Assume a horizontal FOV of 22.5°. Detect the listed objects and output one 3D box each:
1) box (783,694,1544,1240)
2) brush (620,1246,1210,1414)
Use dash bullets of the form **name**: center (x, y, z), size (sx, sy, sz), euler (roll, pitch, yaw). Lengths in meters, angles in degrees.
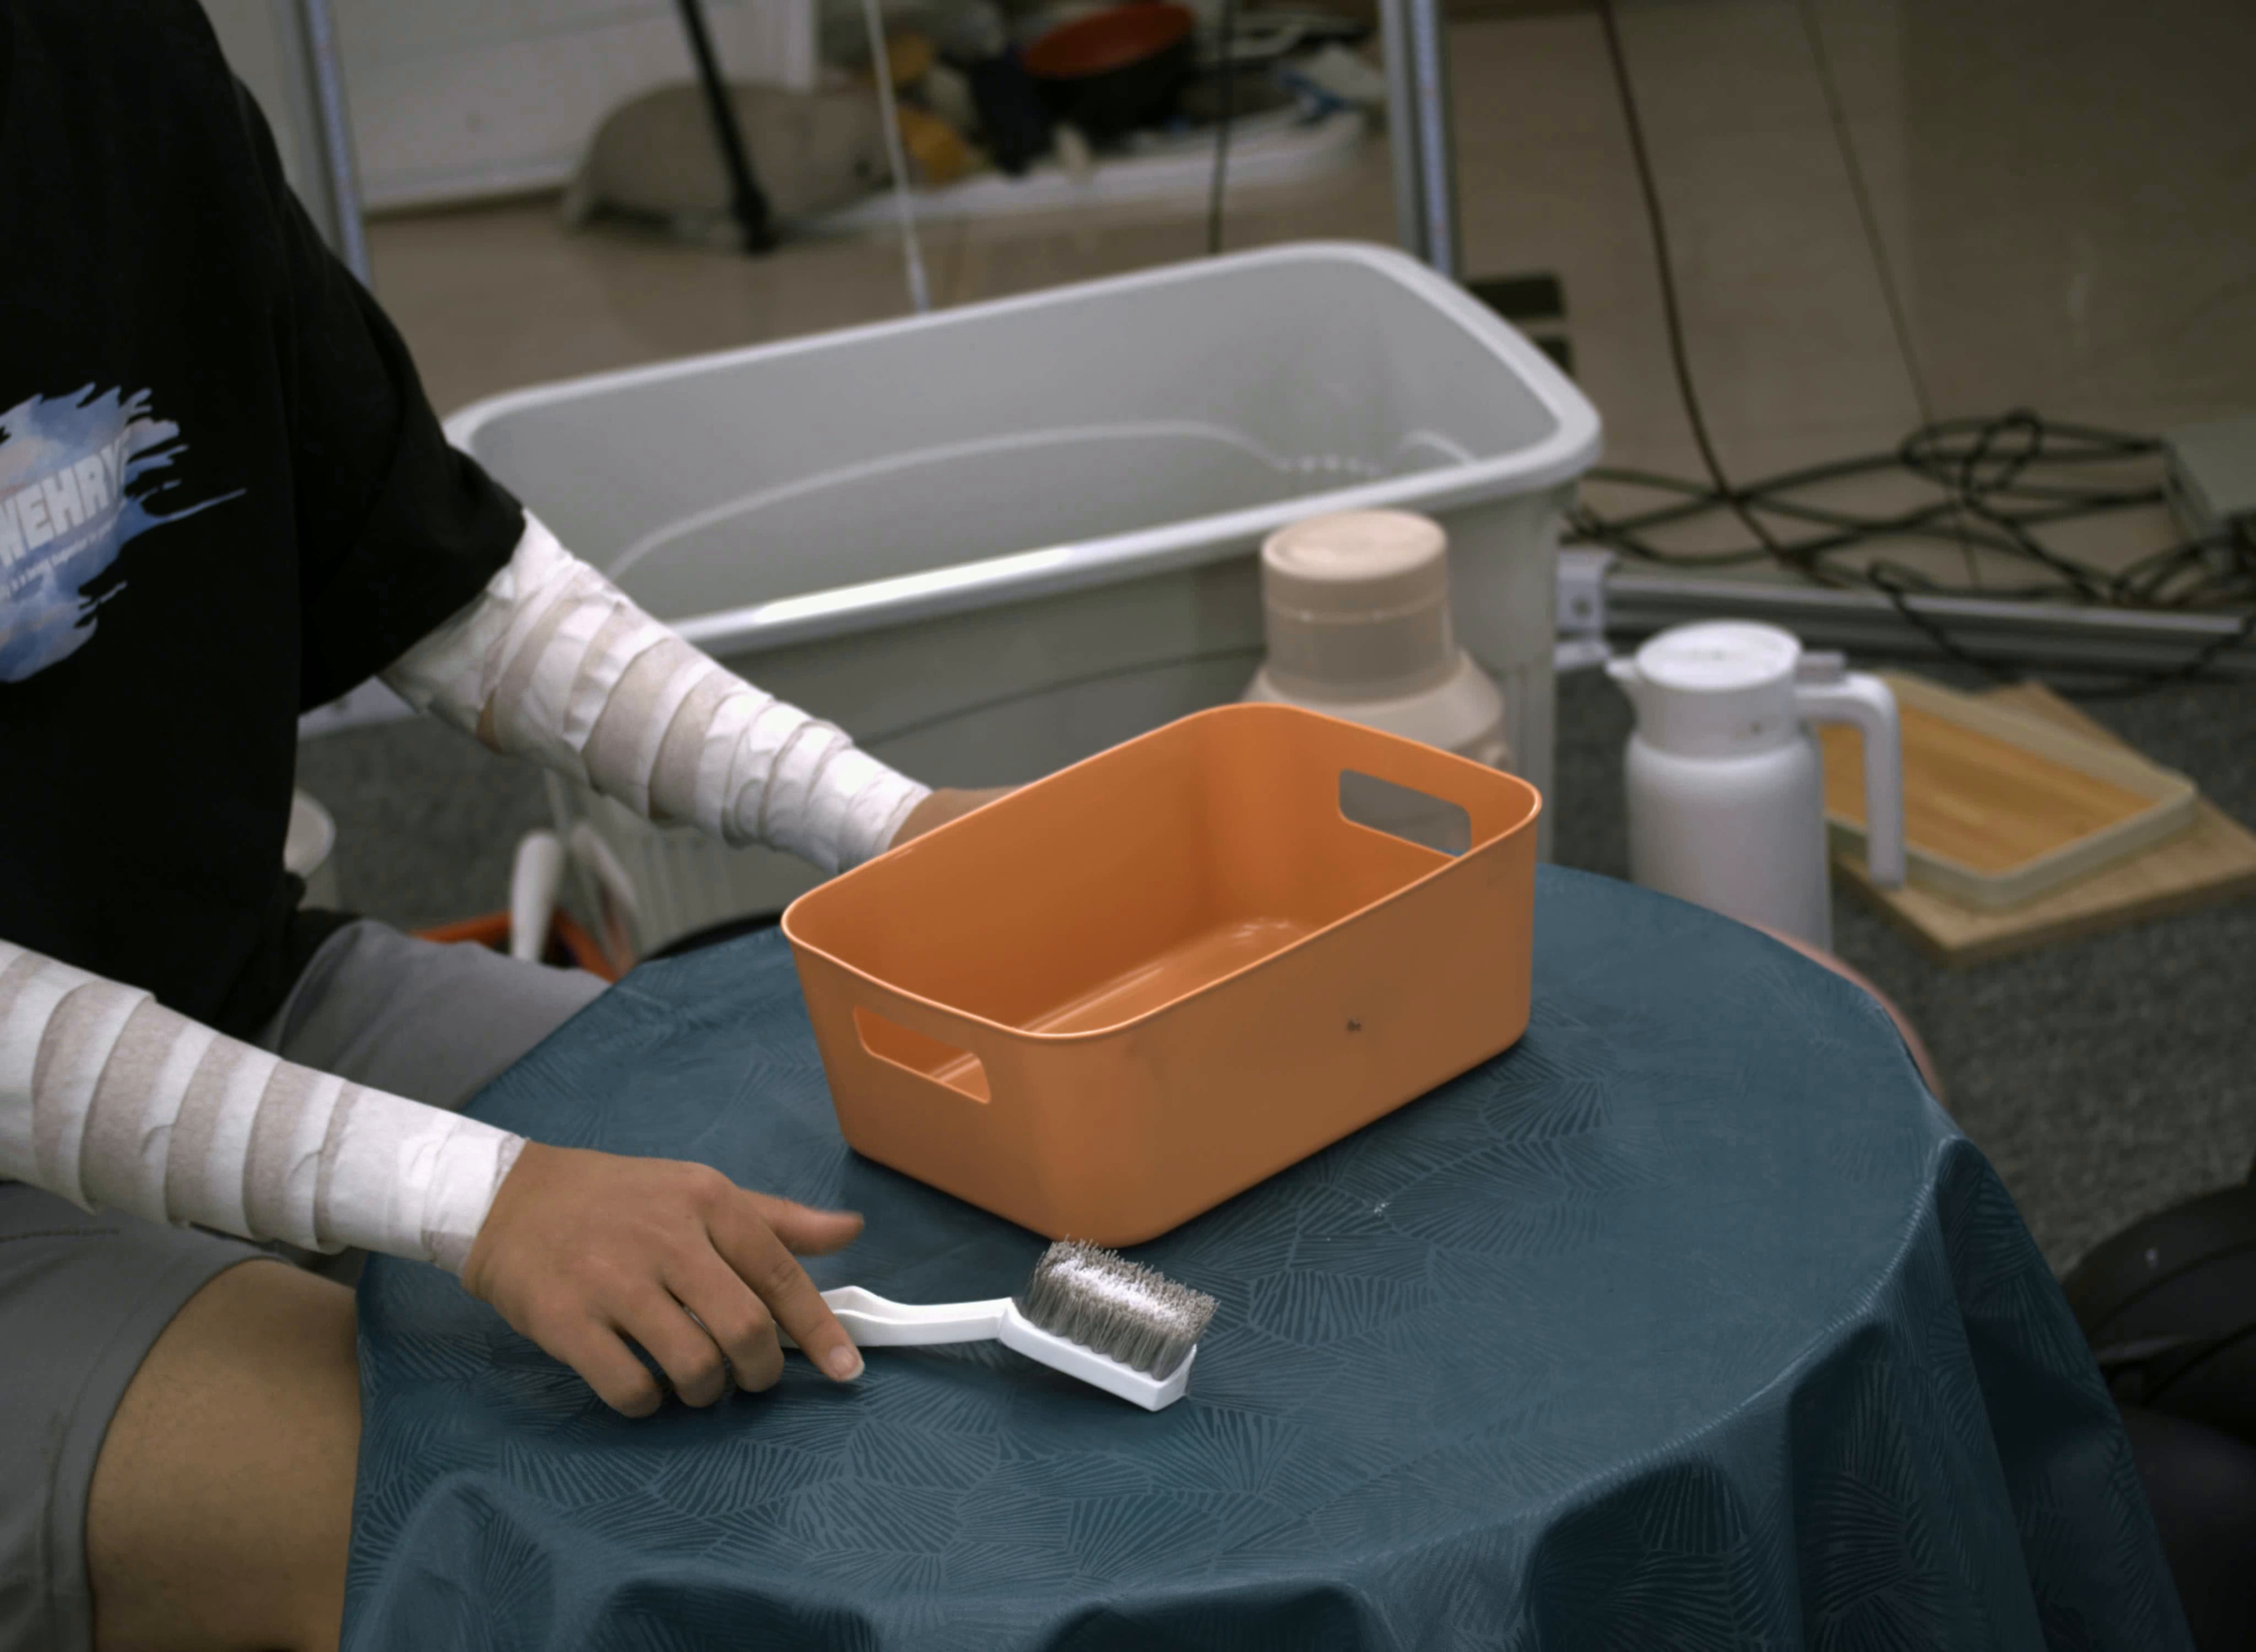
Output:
- **box**: center (0.018, 0.054, 2.197), size (0.271, 0.104, 0.198), euler (-25, 32, -36)
- **brush**: center (-0.082, 0.168, 2.047), size (0.242, 0.051, 0.034), euler (8, 31, 28)
